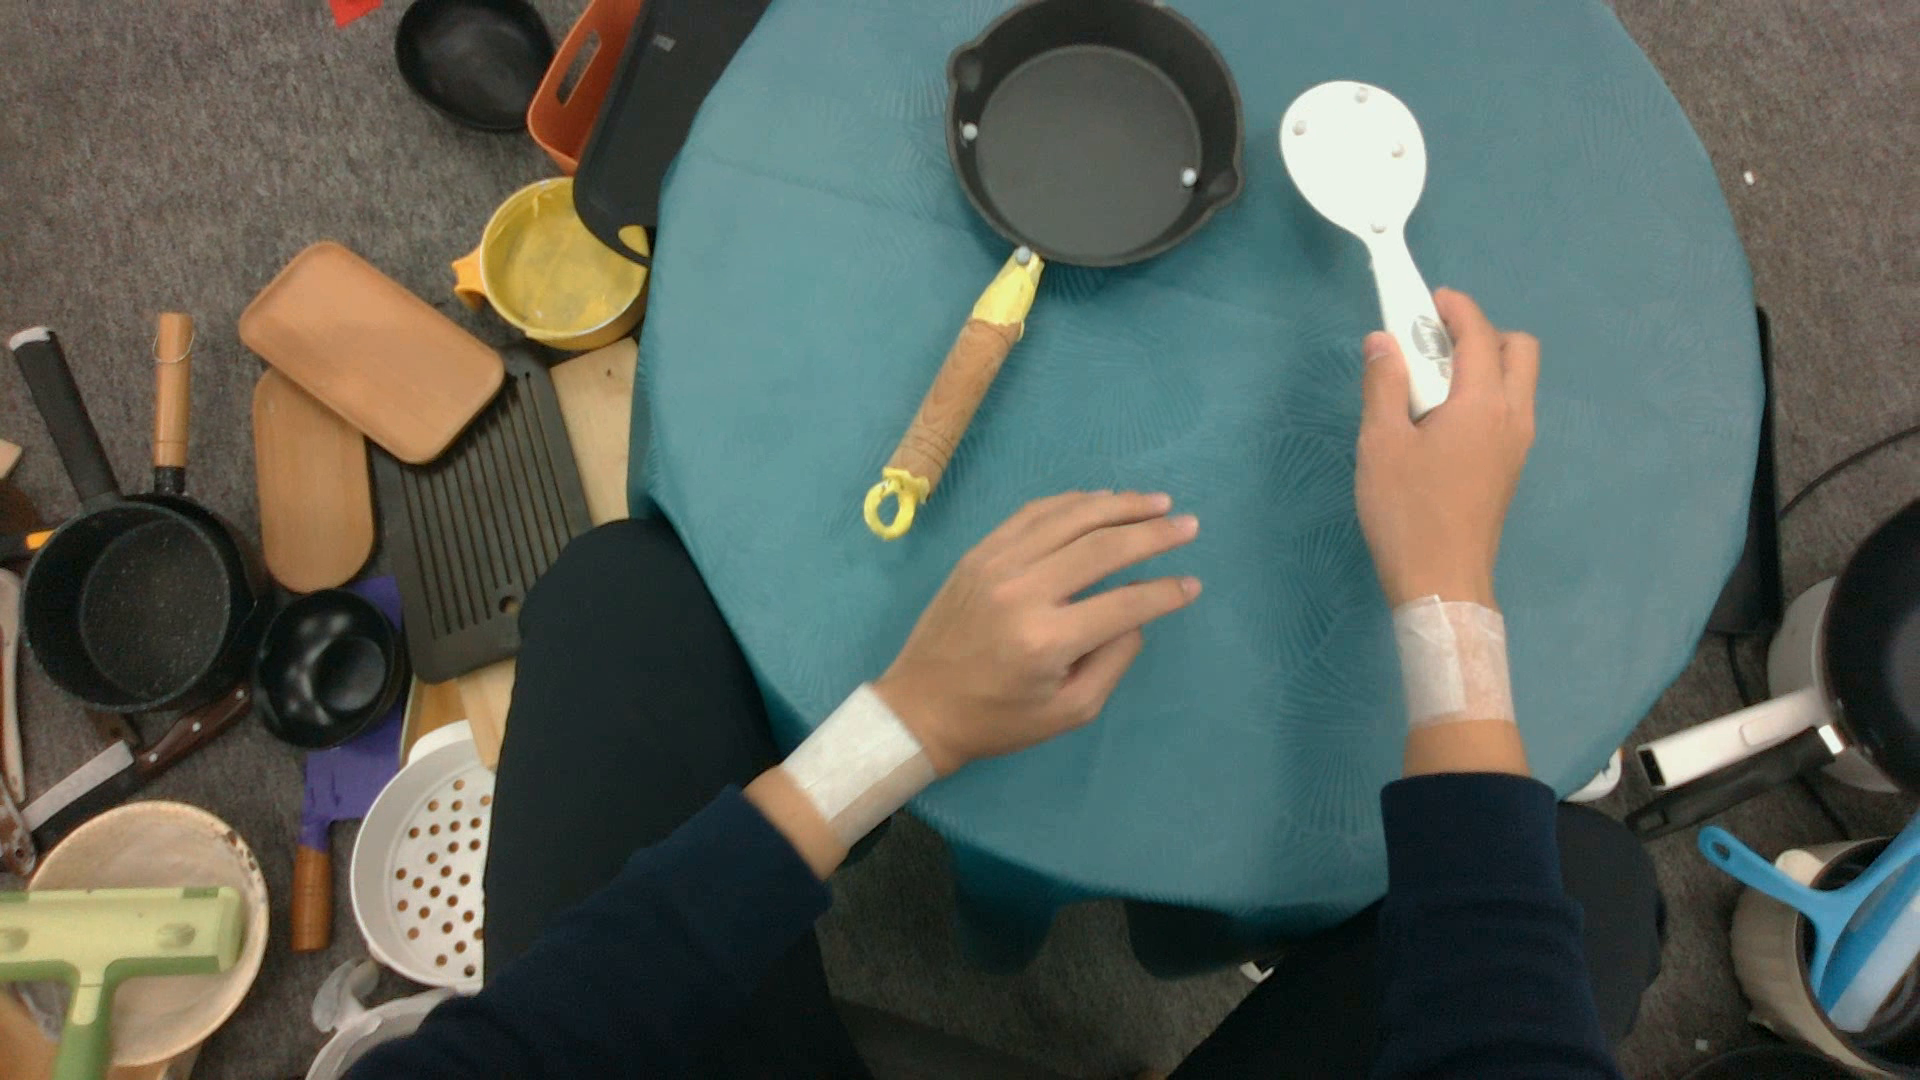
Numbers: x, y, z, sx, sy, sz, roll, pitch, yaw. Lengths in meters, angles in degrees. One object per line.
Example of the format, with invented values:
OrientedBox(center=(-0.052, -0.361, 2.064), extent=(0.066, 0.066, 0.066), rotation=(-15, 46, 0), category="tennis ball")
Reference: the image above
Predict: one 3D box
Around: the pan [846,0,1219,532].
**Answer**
OrientedBox(center=(0.020, -0.145, 0.716), extent=(0.169, 0.049, 0.325), rotation=(27, 76, 4), category="pan")

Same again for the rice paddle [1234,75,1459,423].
OrientedBox(center=(0.192, -0.153, 0.682), extent=(0.069, 0.029, 0.206), rotation=(-16, 68, -1), category="rice paddle")
